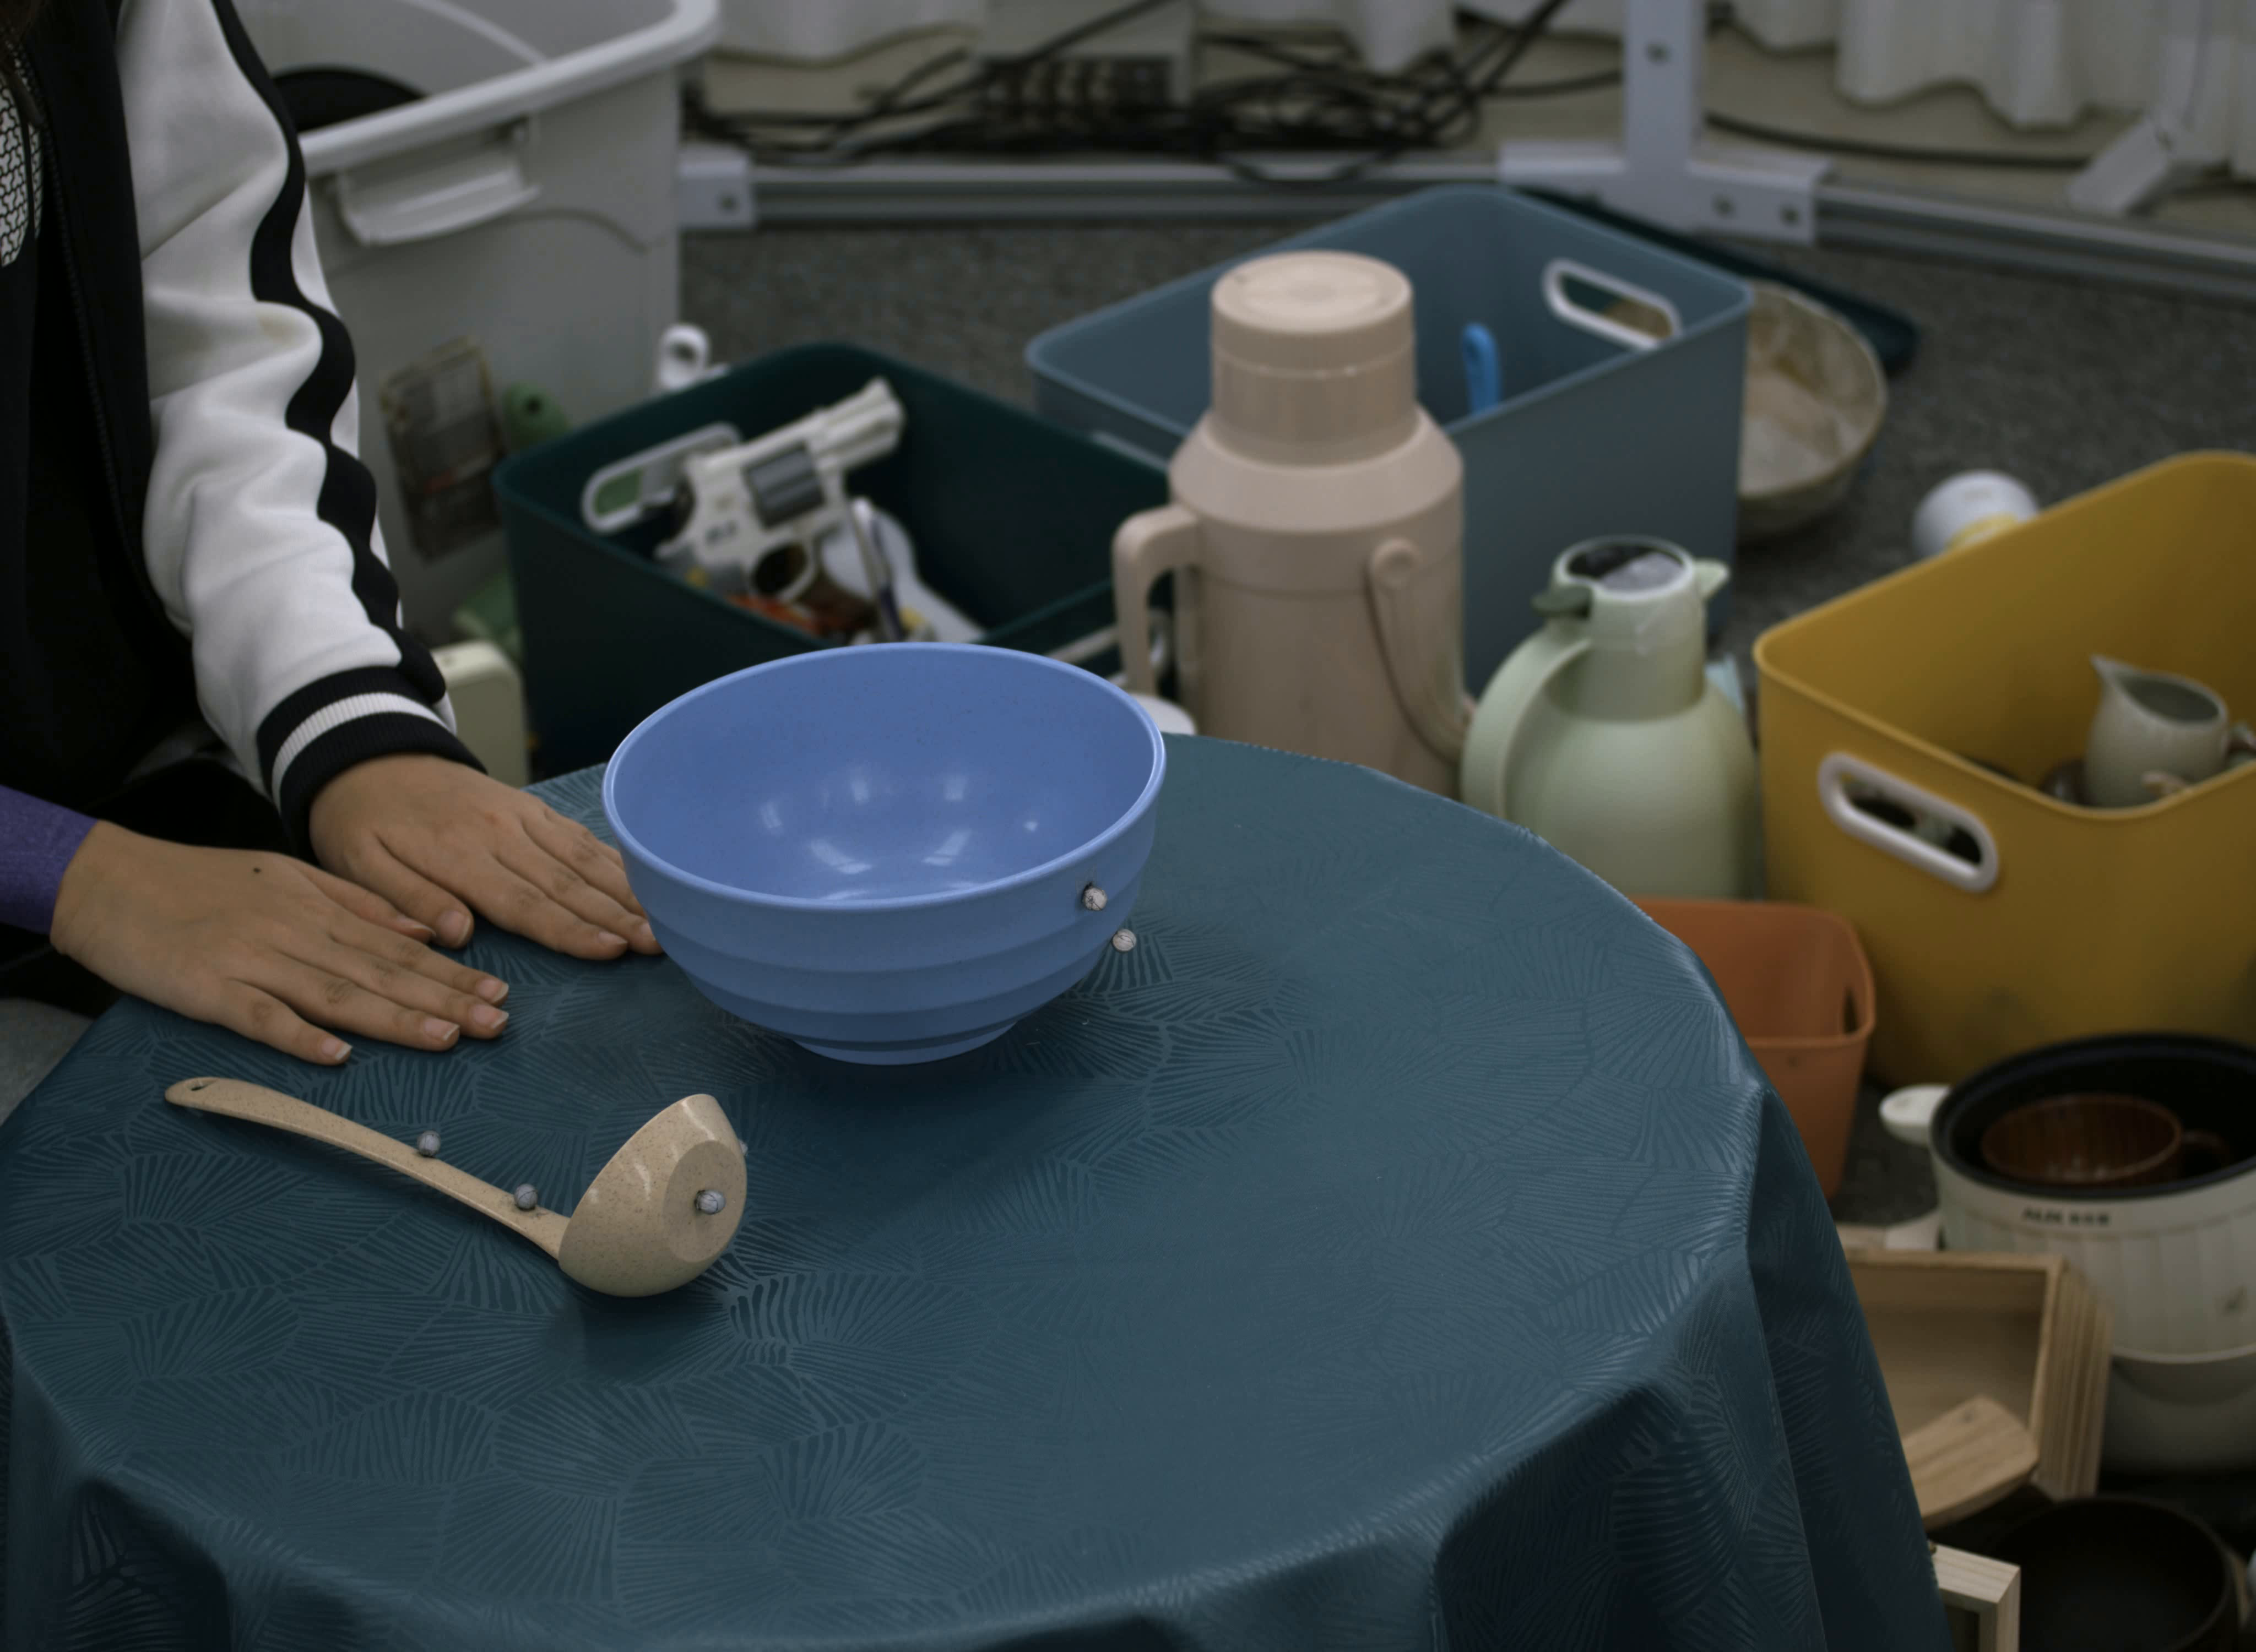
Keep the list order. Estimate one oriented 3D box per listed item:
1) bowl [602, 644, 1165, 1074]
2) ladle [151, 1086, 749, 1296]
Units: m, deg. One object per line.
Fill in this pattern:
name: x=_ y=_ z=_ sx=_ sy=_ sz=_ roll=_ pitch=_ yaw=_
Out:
bowl: x=-0.081 y=0.023 z=1.964 sx=0.195 sy=0.094 sz=0.199 roll=-3 pitch=28 yaw=2
ladle: x=-0.235 y=0.094 z=1.861 sx=0.253 sy=0.072 sz=0.073 roll=16 pitch=31 yaw=33
